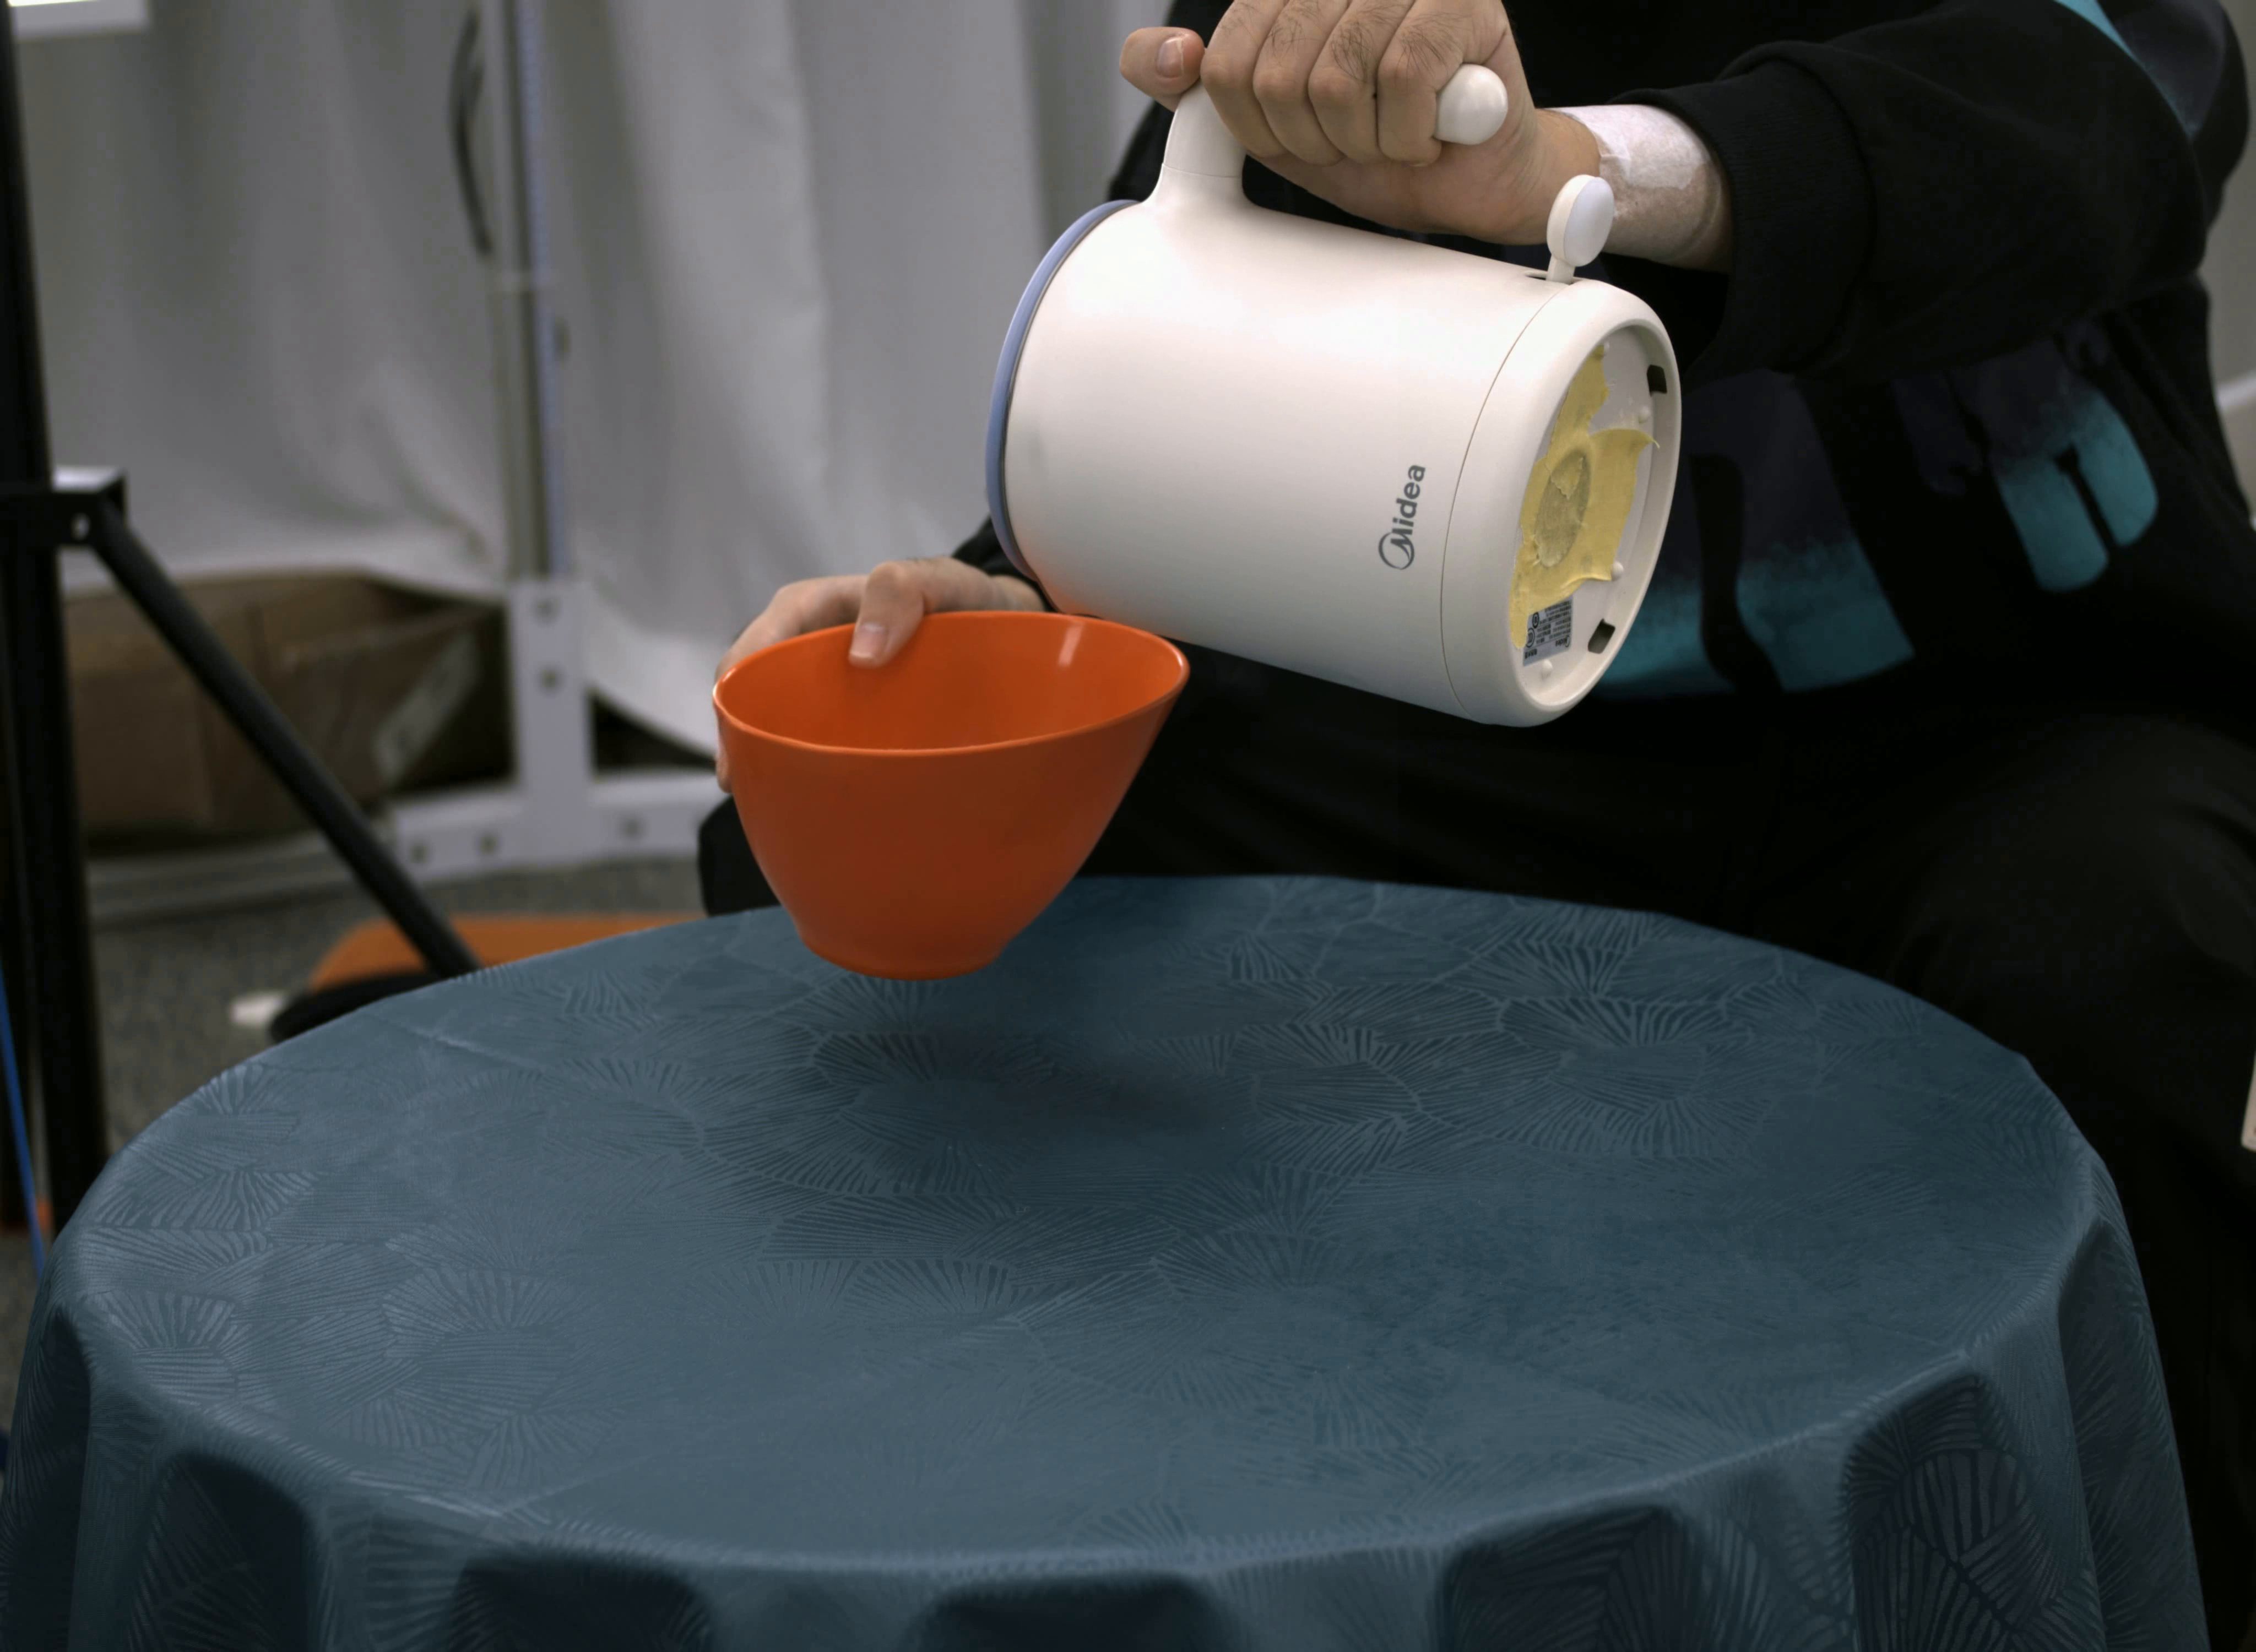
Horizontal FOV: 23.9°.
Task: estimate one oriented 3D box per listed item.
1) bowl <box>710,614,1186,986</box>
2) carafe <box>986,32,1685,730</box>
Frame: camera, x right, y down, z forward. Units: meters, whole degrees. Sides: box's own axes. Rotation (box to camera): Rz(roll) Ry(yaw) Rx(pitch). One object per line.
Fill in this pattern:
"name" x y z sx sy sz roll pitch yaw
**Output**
"bowl" -0.060 -0.007 1.665 0.147 0.104 0.149 4 24 -3
"carafe" 0.066 -0.133 1.554 0.185 0.191 0.130 18 15 25
